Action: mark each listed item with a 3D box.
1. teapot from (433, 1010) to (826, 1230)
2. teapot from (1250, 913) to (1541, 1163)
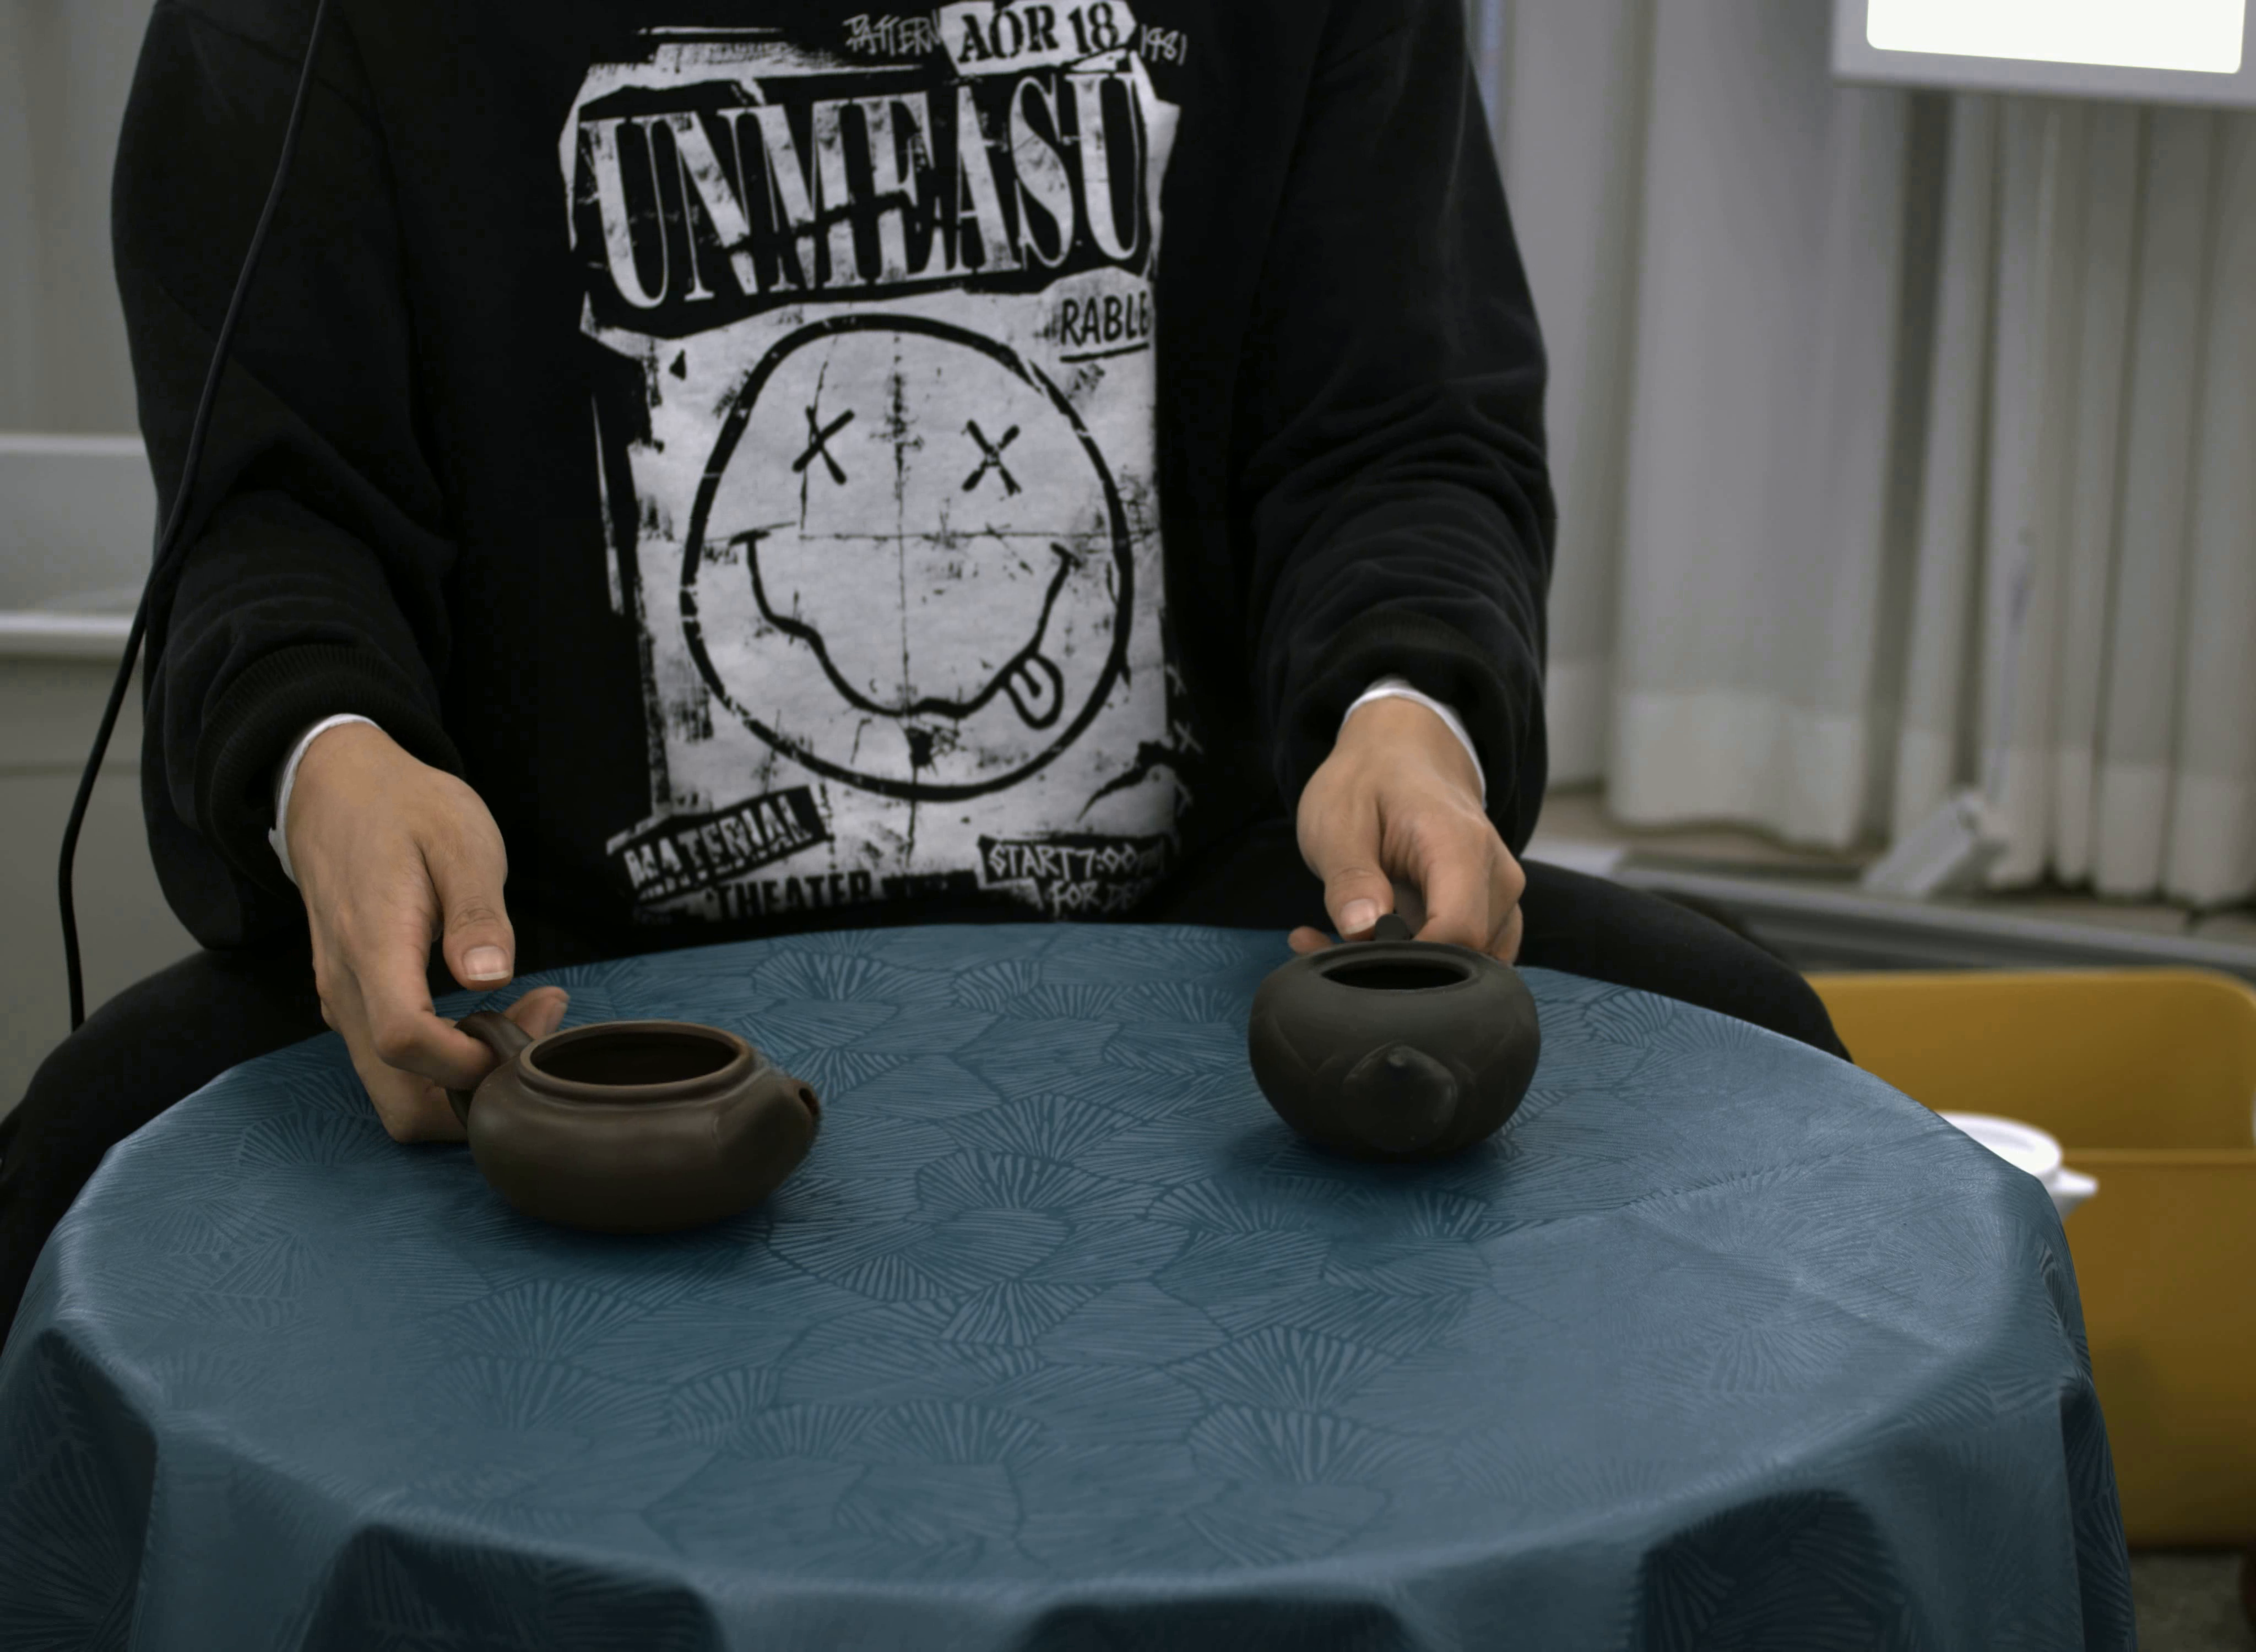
[{"bbox_3d":[-0.153,0.088,1.602,0.151,0.054,0.103,11,16,31],"label":"teapot"},{"bbox_3d":[0.084,0.068,1.665,0.092,0.065,0.153,3,16,1],"label":"teapot"}]
